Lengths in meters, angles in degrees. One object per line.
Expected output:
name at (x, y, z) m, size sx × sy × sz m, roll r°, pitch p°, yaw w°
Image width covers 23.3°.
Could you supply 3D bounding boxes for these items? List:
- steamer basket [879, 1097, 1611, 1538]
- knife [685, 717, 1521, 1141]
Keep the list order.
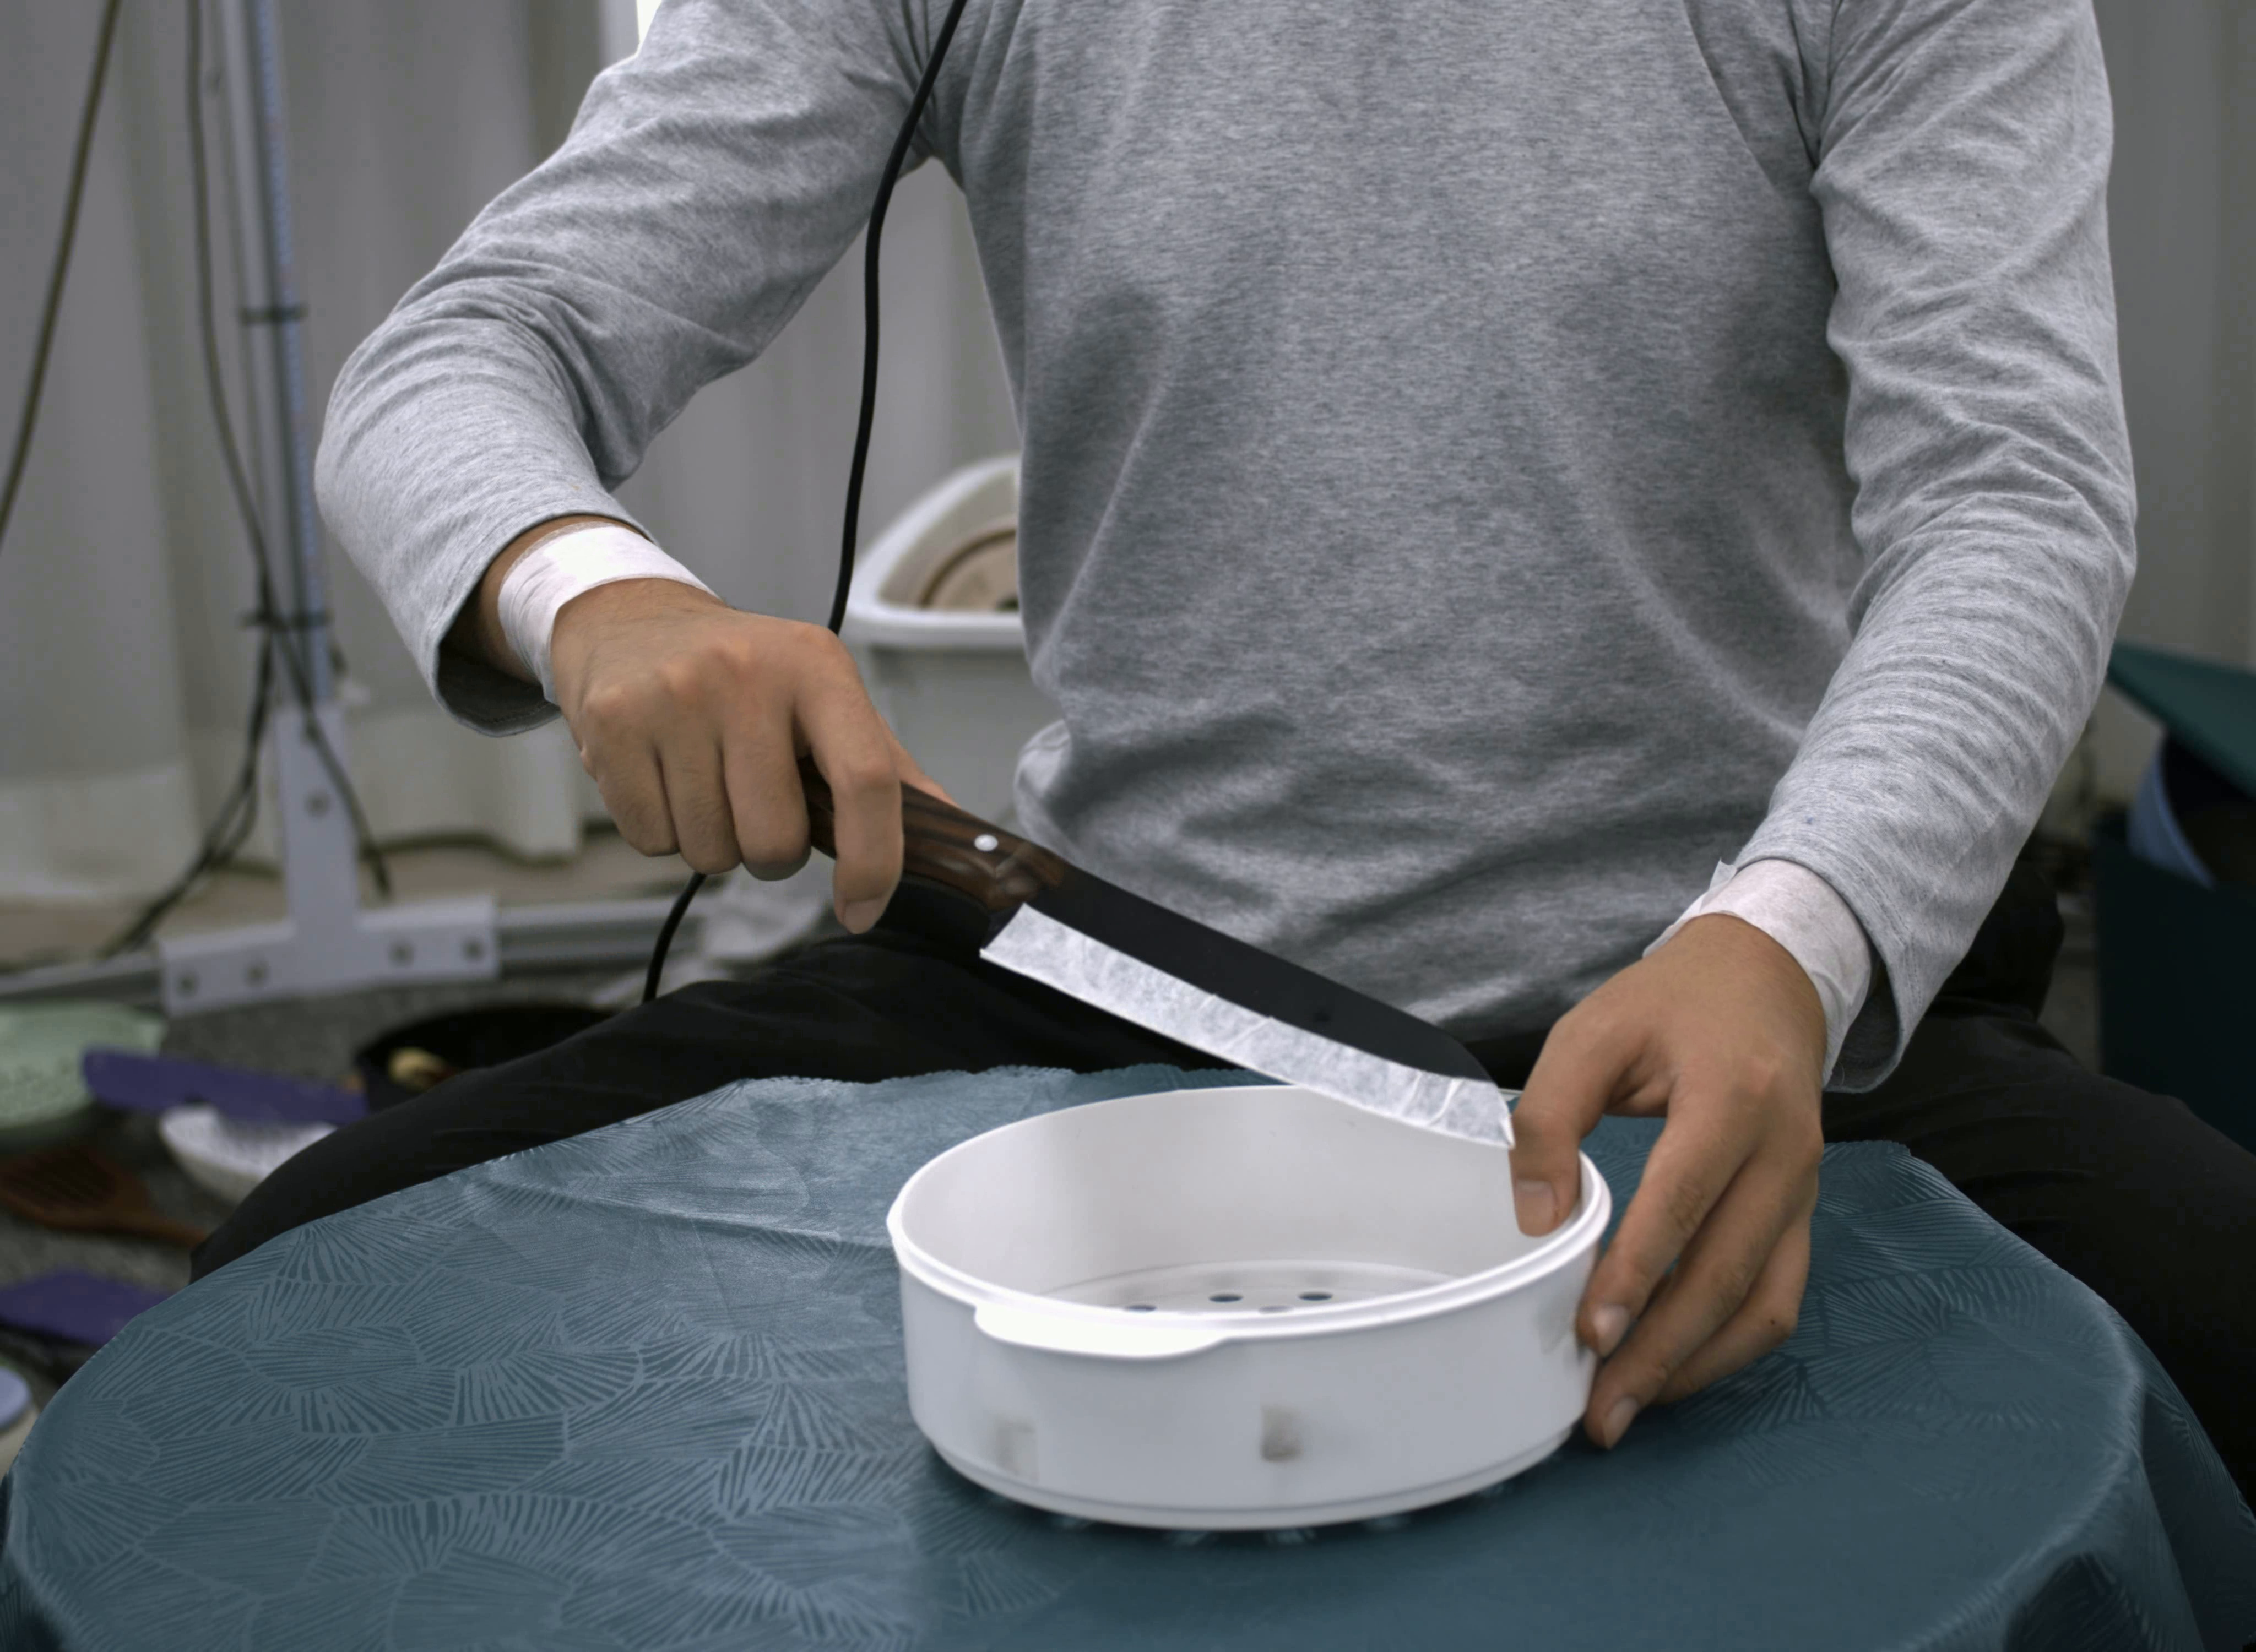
steamer basket at (0.033, 0.135, 1.507) m, size 0.202 × 0.069 × 0.231 m, roll 5°, pitch 15°, yaw 26°
knife at (-0.011, 0.030, 1.571) m, size 0.291 × 0.020 × 0.050 m, roll 24°, pitch 50°, yaw 24°
